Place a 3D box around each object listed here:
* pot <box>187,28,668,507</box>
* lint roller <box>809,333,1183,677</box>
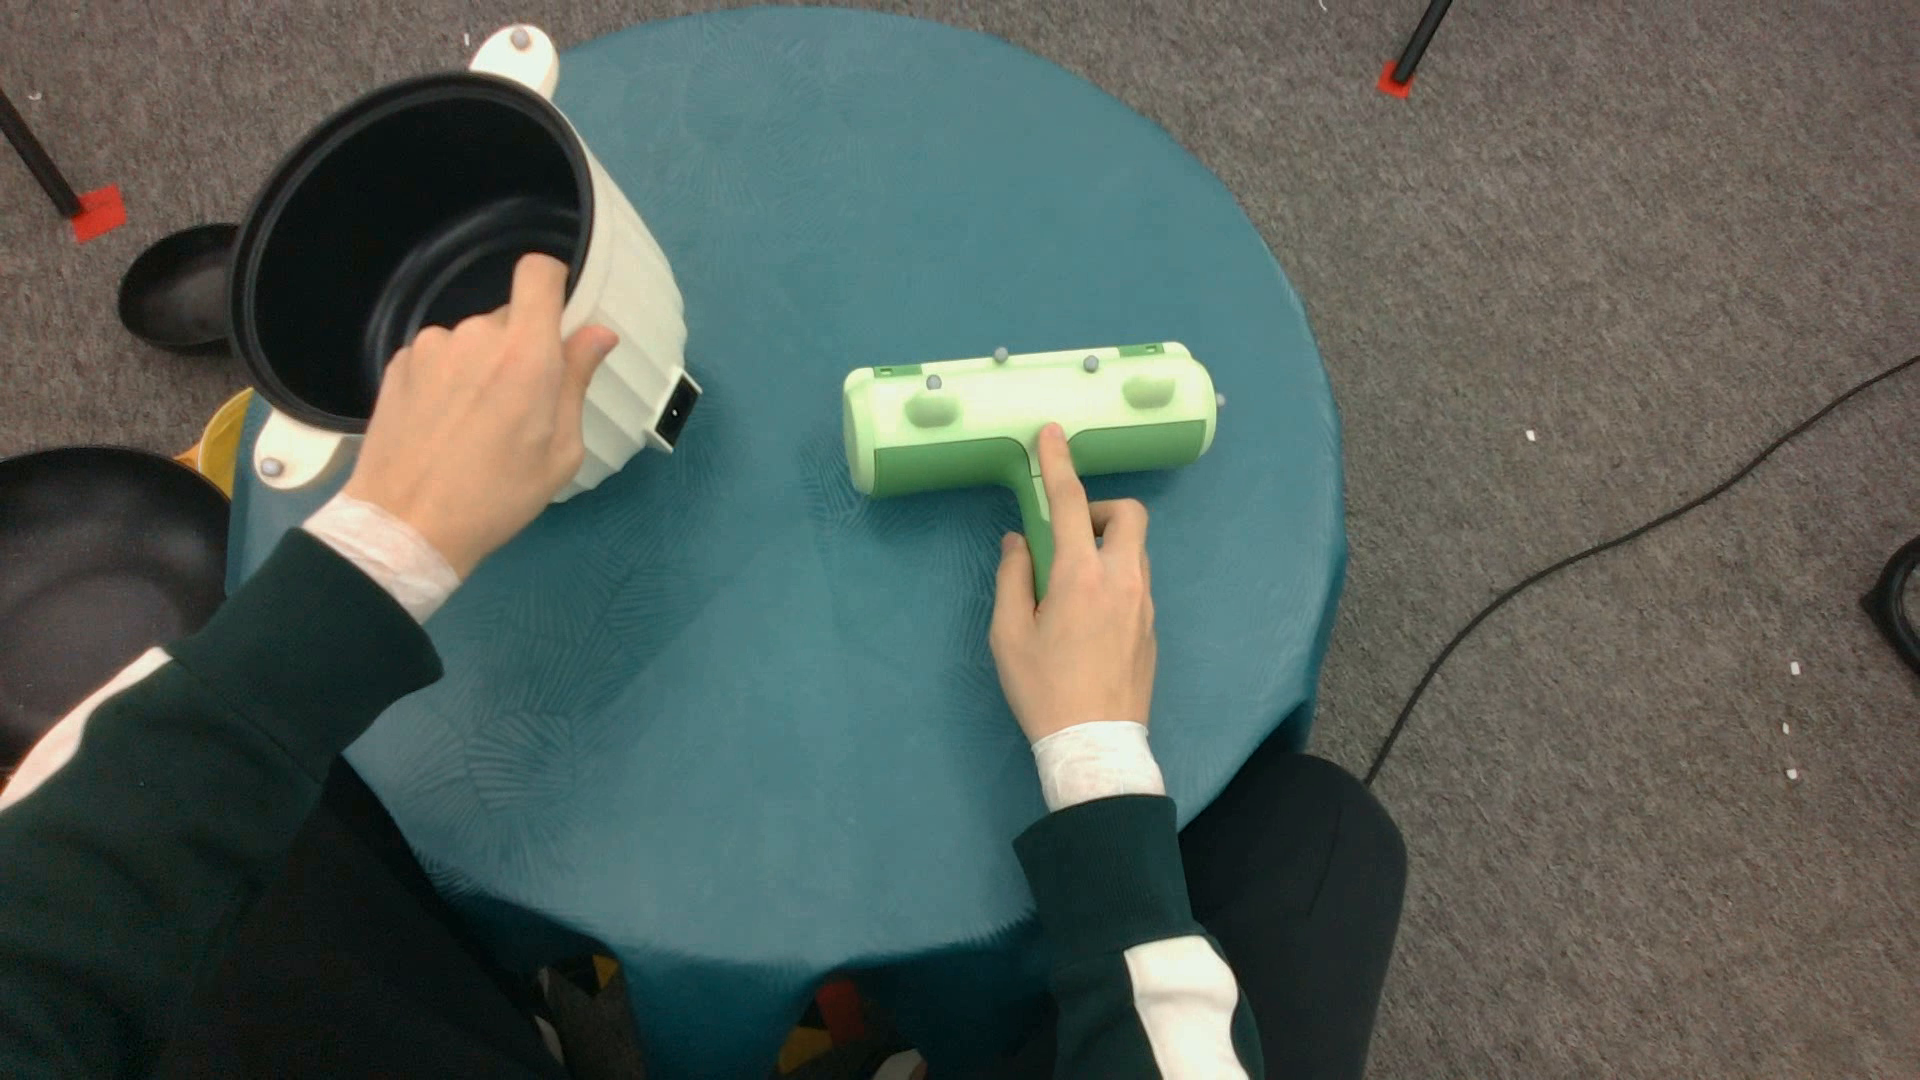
[{"bbox_3d":[-0.253,-0.111,0.671,0.190,0.142,0.241,19,74,14],"label":"pot"},{"bbox_3d":[0.033,-0.027,0.698,0.199,0.082,0.184,-6,58,-14],"label":"lint roller"}]
